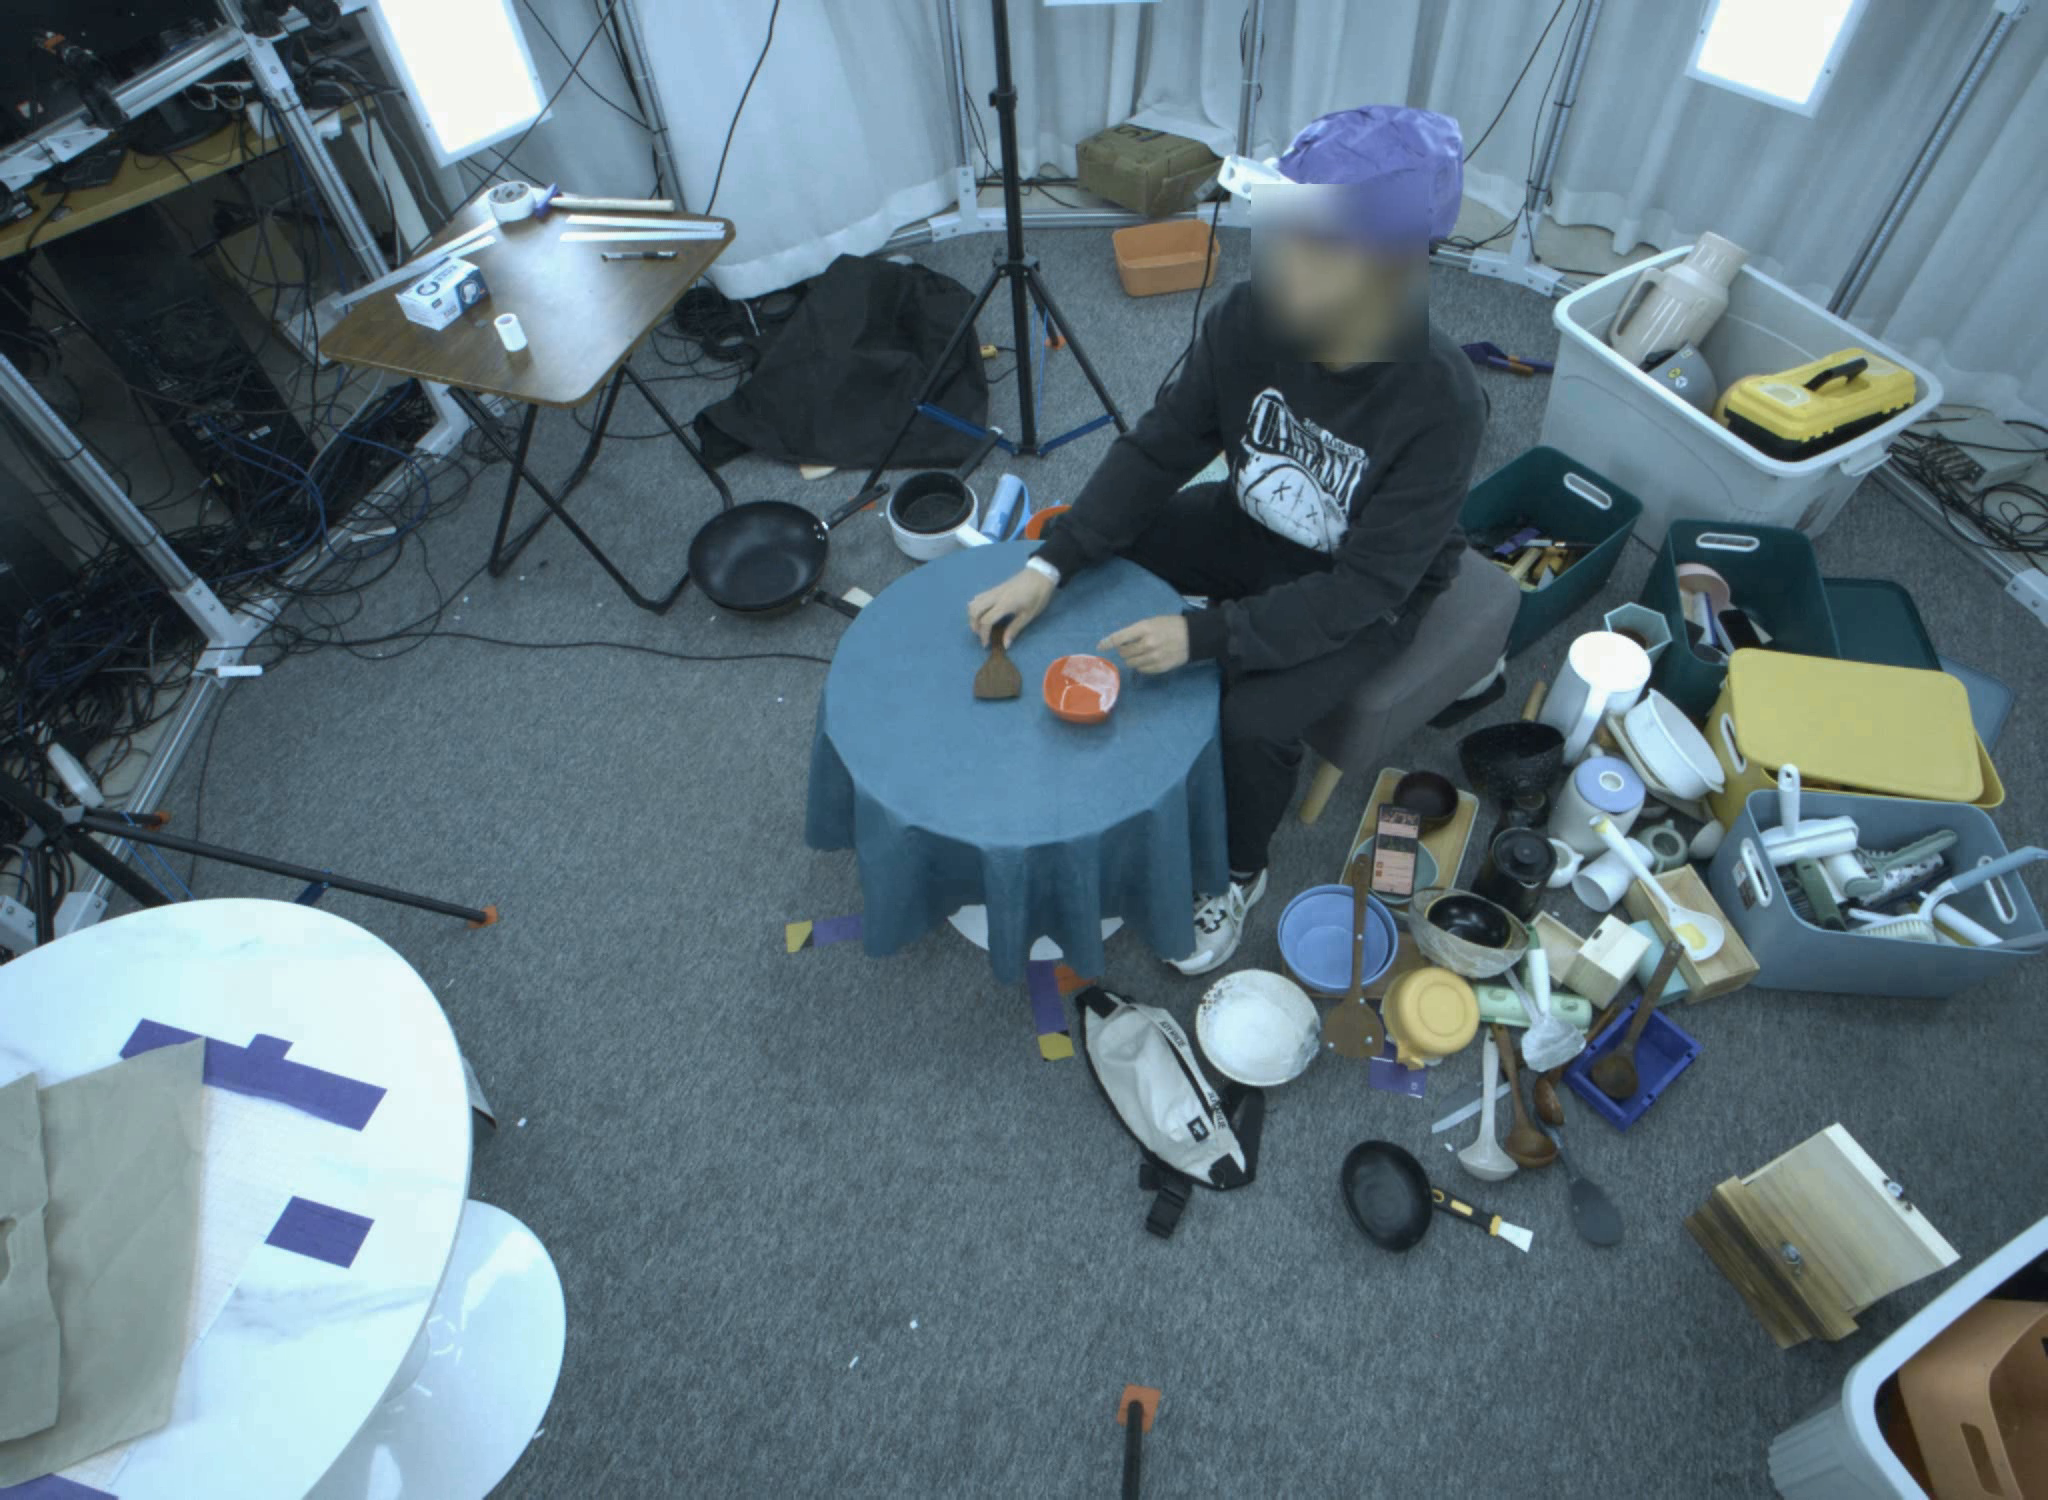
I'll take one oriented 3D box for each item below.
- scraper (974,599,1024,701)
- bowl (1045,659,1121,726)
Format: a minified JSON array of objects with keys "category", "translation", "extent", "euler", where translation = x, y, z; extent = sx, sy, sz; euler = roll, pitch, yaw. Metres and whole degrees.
[{"category":"scraper","translation":[-0.038,-0.157,1.905],"extent":[0.076,0.011,0.209],"euler":[-1,54,0]},{"category":"bowl","translation":[0.088,-0.078,1.820],"extent":[0.119,0.052,0.118],"euler":[-1,55,3]}]
